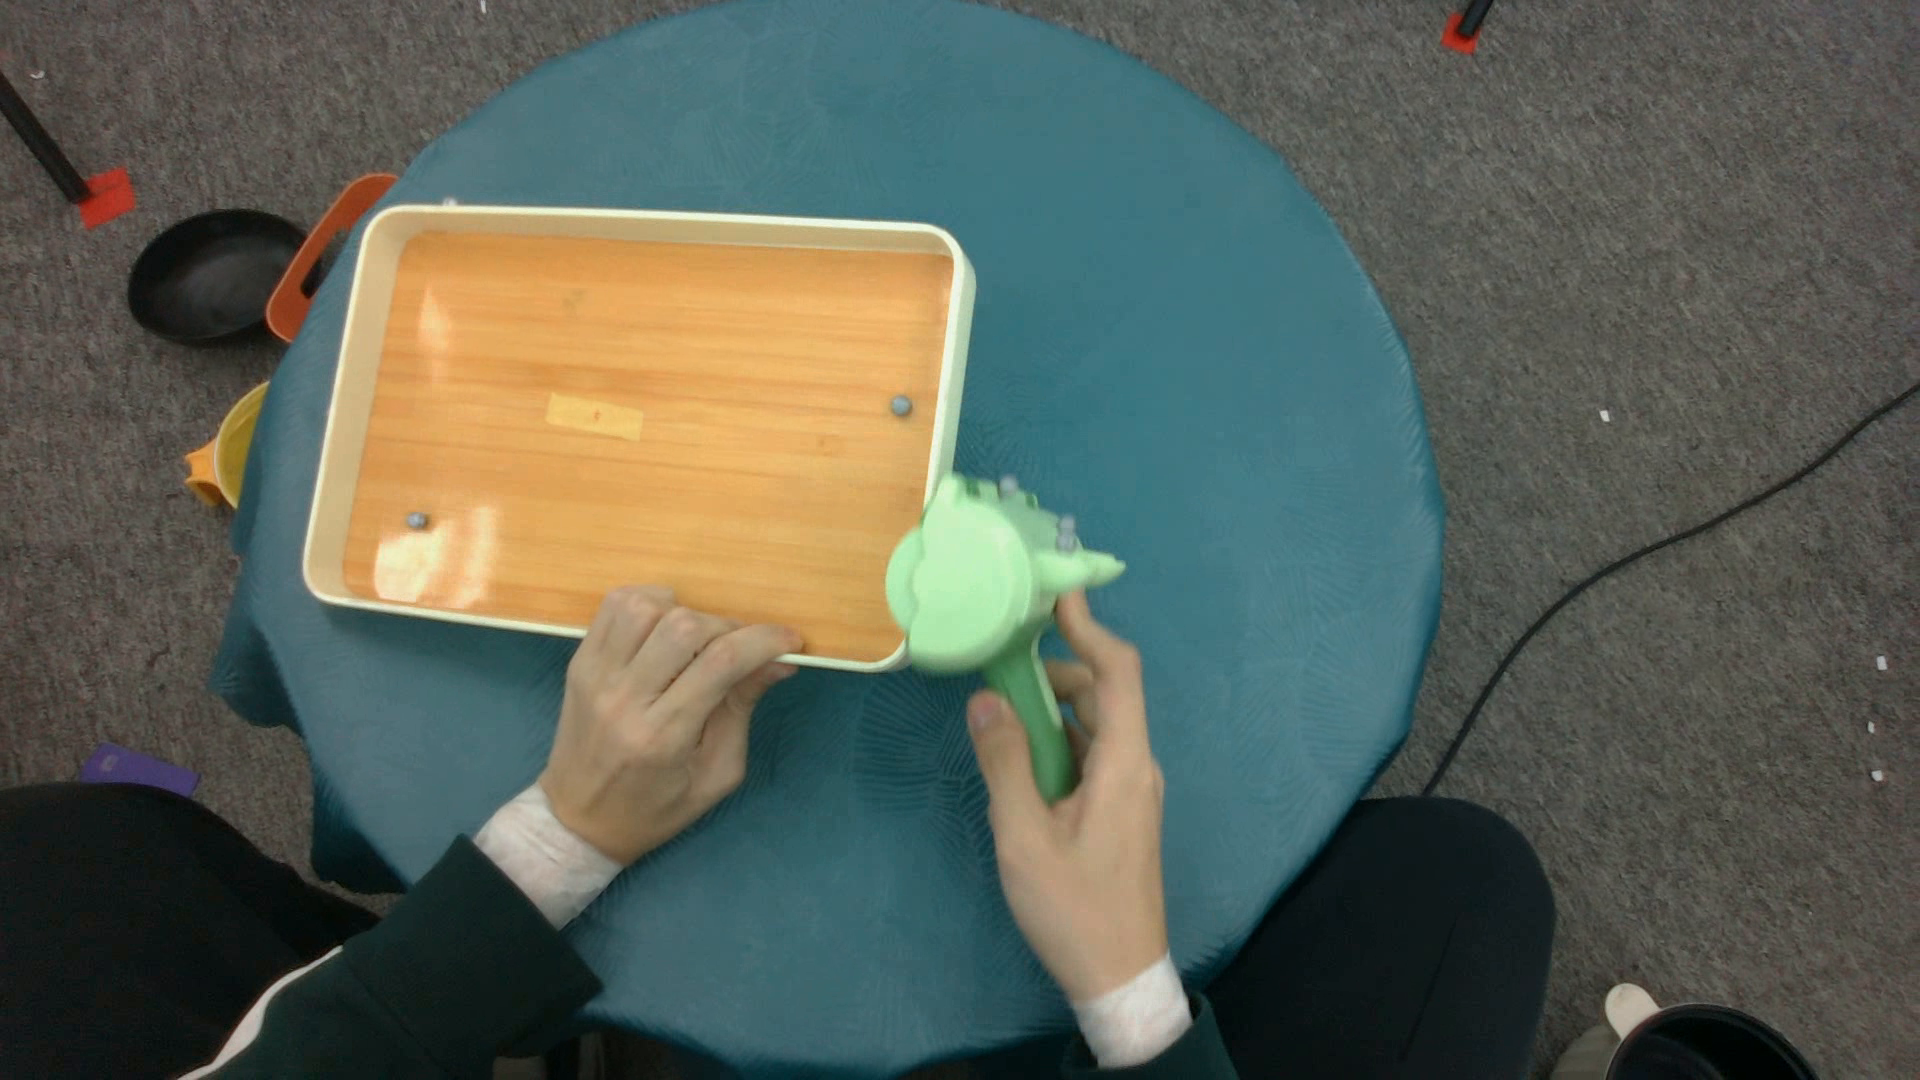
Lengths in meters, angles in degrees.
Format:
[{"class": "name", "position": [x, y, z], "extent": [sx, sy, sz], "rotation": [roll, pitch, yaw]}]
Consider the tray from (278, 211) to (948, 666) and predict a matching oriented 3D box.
[{"class": "tray", "position": [-0.159, -0.050, 0.615], "extent": [0.300, 0.027, 0.192], "rotation": [4, 83, 15]}]

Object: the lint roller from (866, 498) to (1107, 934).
[{"class": "lint roller", "position": [0.035, 0.068, 0.577], "extent": [0.082, 0.199, 0.183], "rotation": [-23, 87, 11]}]
